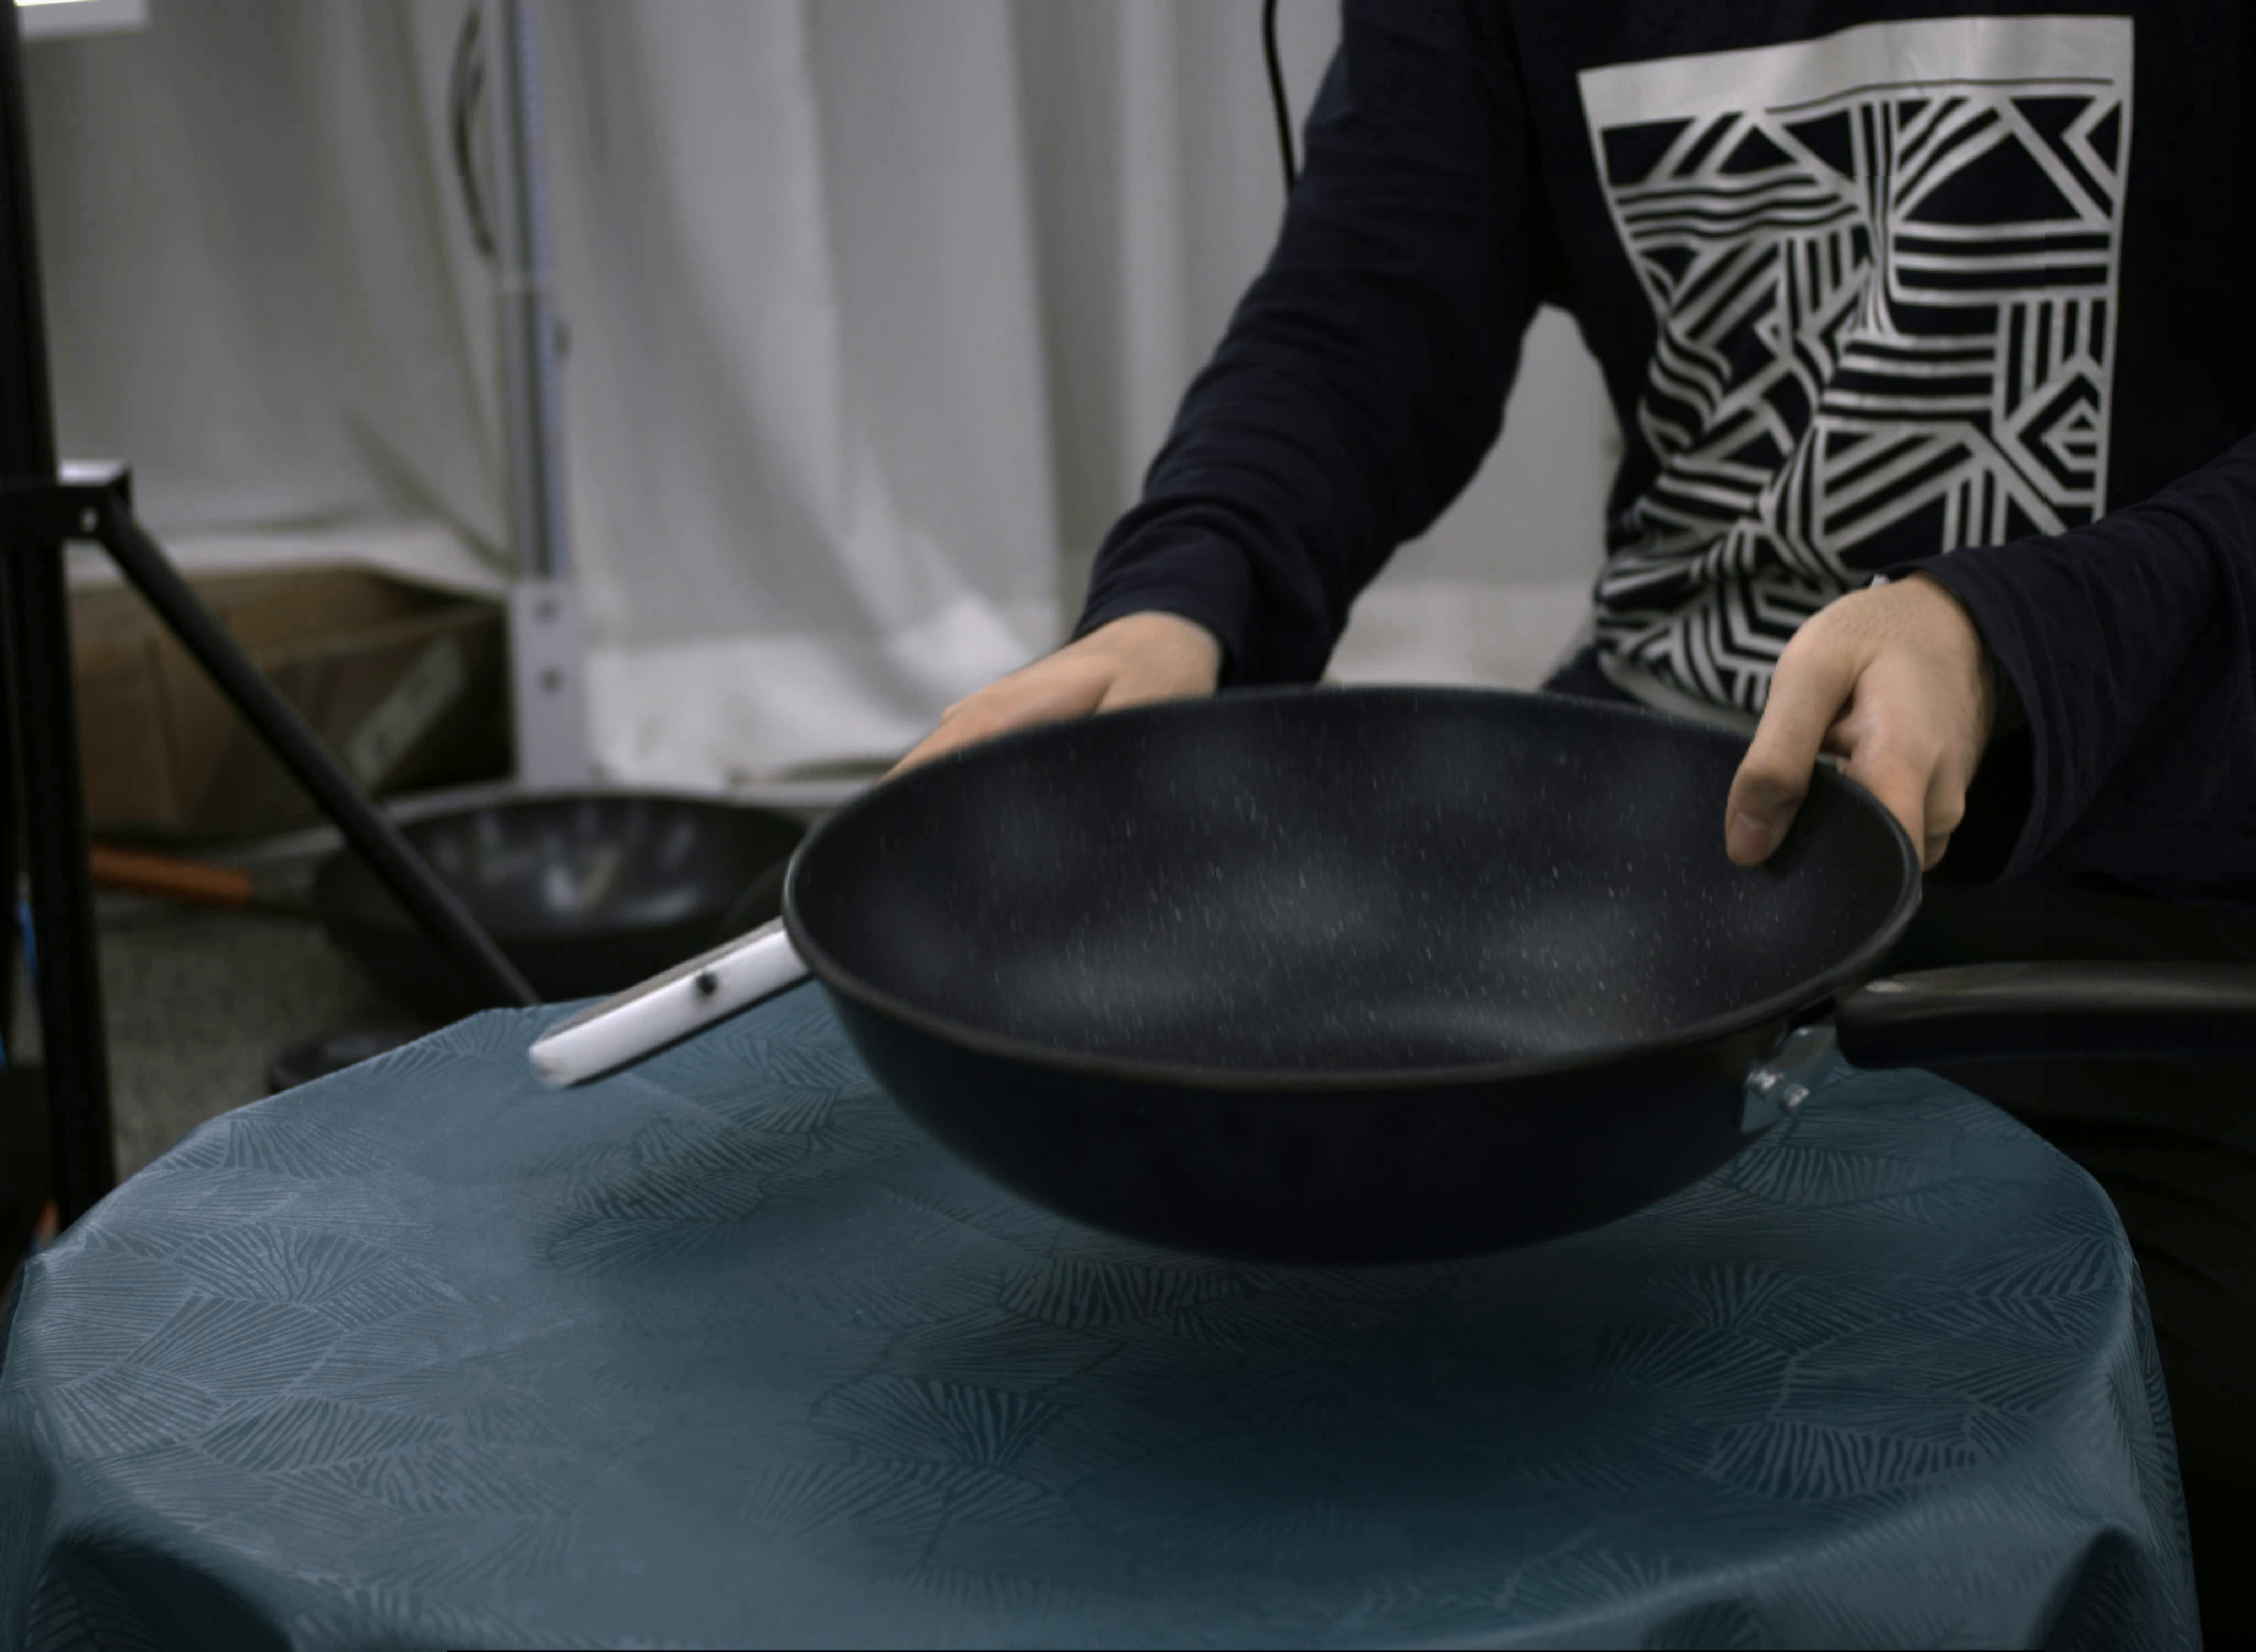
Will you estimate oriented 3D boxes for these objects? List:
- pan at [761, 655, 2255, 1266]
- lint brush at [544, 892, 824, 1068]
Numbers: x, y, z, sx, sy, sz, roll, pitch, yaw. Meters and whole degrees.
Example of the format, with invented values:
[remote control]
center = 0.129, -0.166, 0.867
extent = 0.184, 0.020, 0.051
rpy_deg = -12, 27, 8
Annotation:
[pan]
center = 0.122, 0.050, 1.395
extent = 0.487, 0.111, 0.304
rpy_deg = 13, 26, 36
[lint brush]
center = -0.066, 0.015, 1.657
extent = 0.303, 0.021, 0.061
rpy_deg = -26, -4, -46
